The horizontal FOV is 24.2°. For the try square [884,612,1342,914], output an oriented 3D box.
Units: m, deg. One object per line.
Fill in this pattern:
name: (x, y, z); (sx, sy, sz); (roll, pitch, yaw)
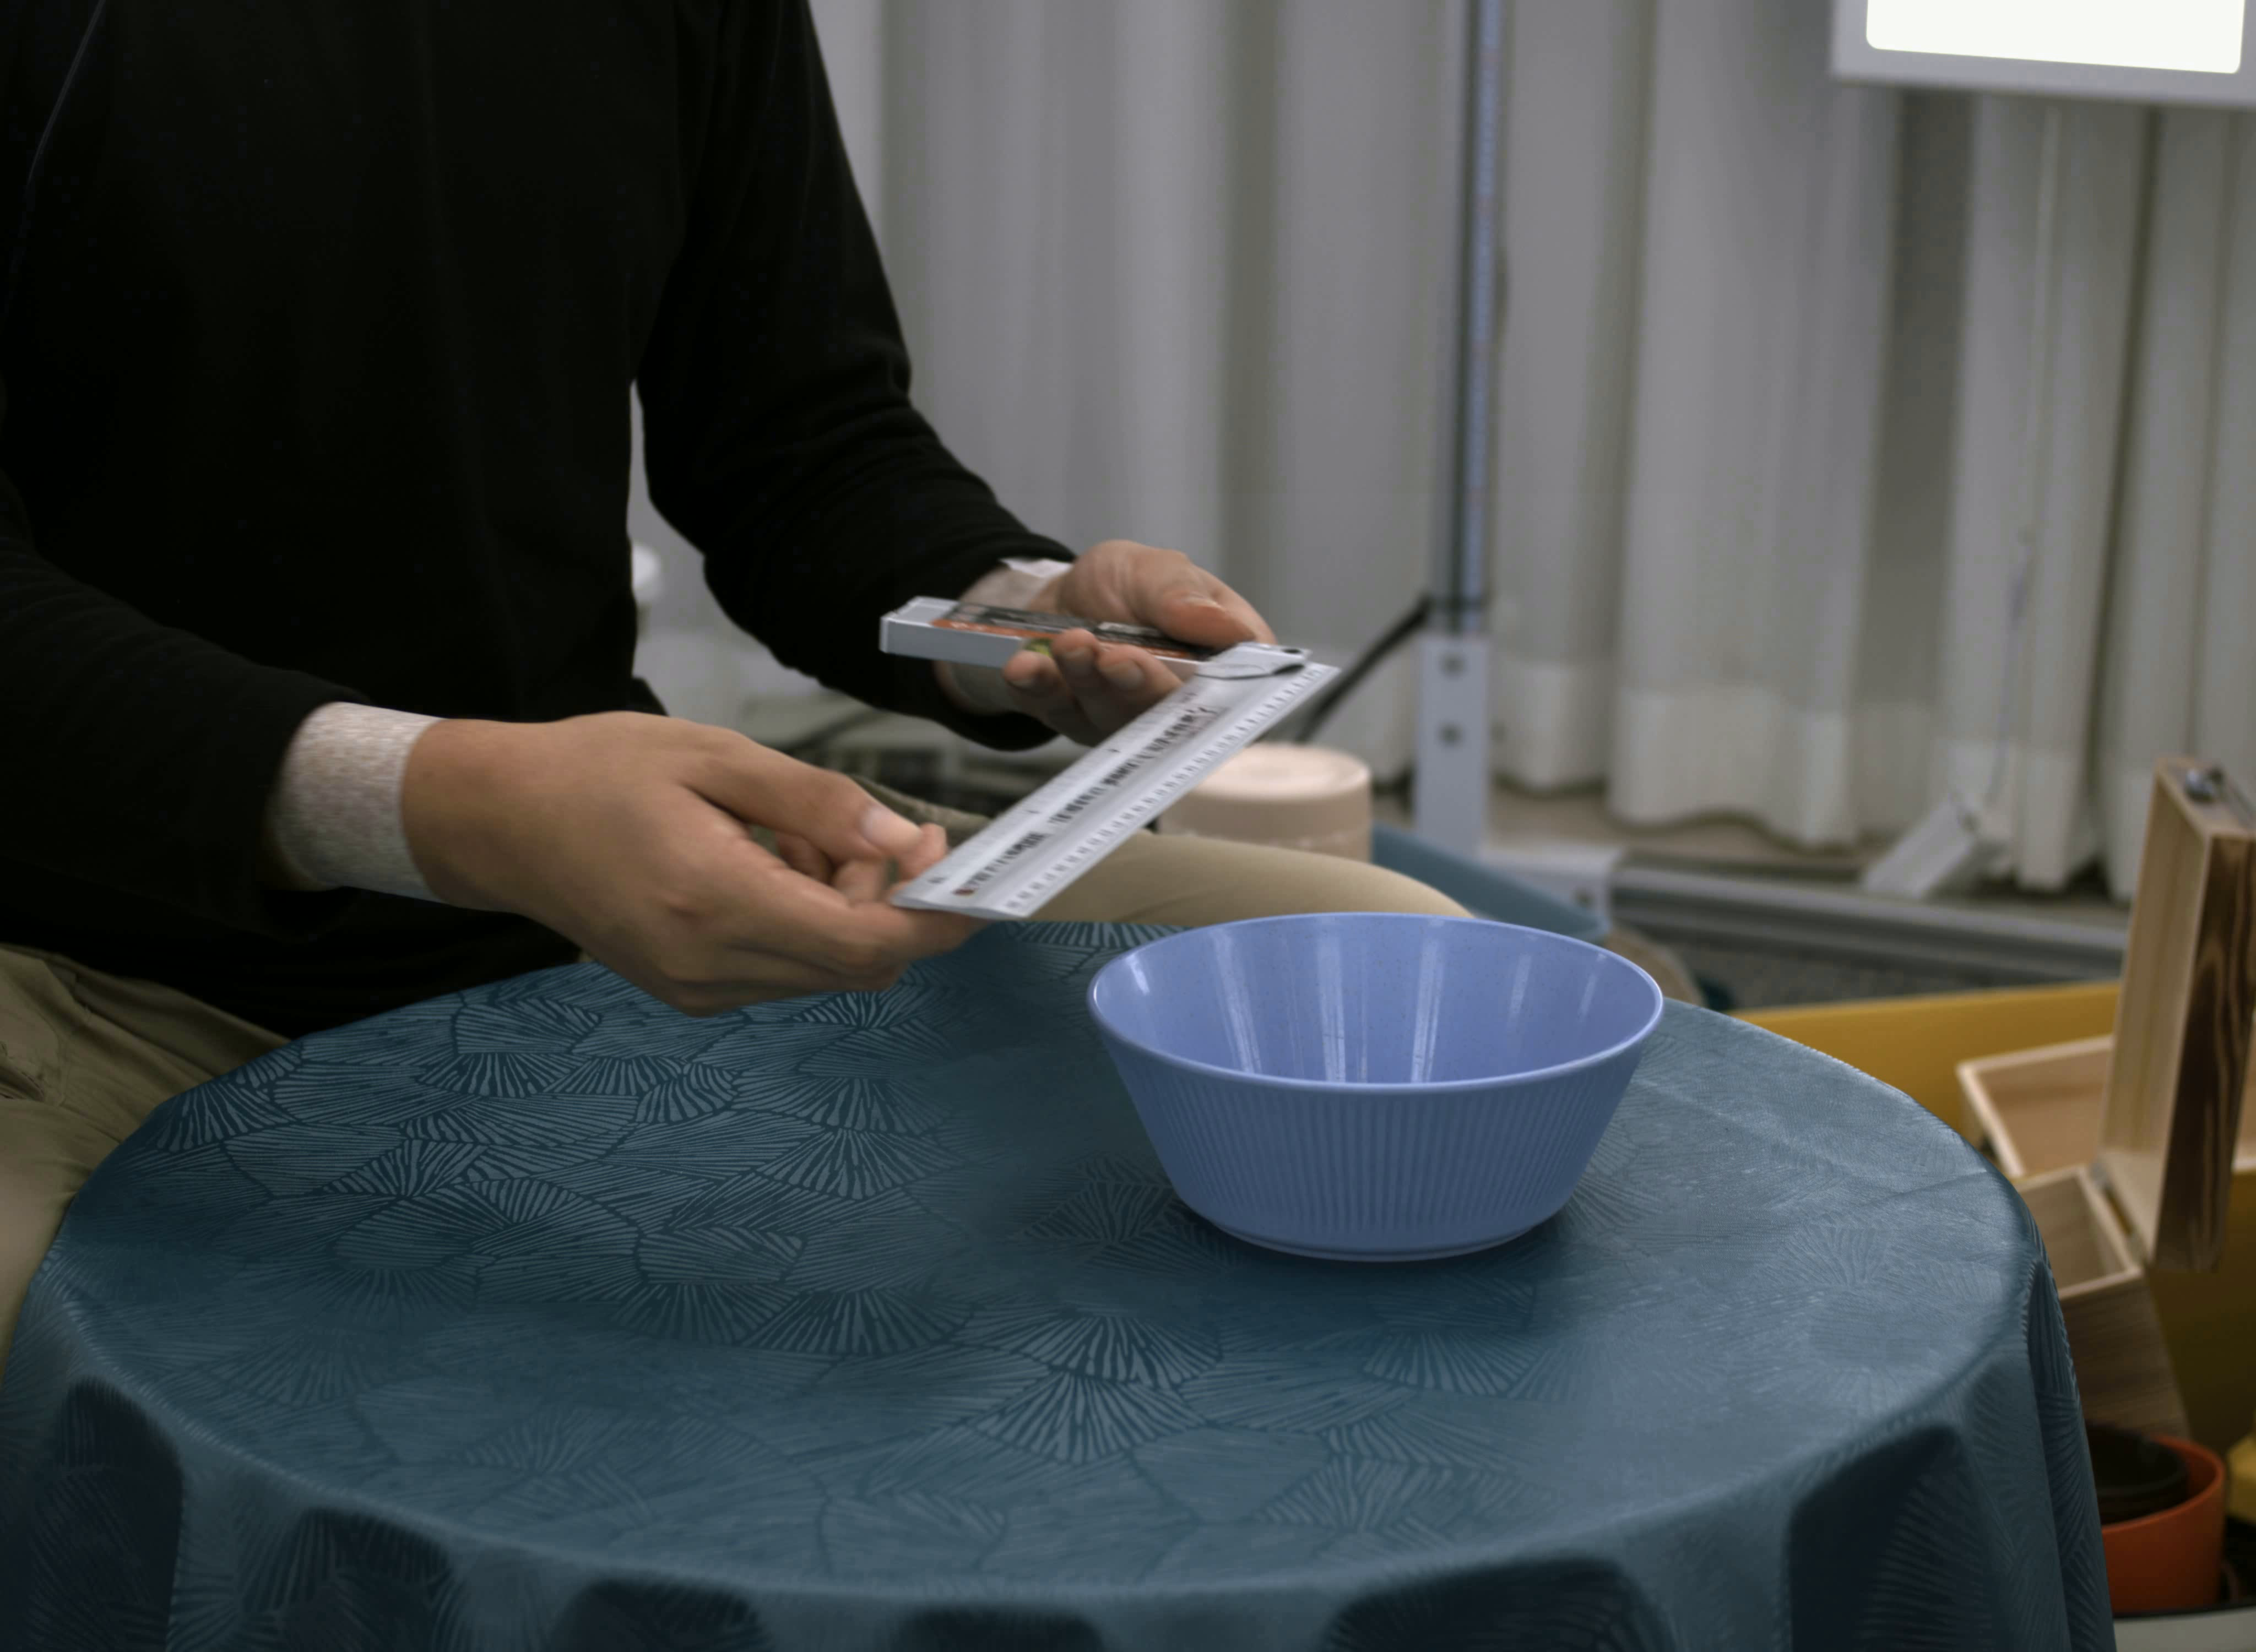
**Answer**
try square: (-0.049, -0.022, 1.628); (0.151, 0.016, 0.313); (6, 16, 18)

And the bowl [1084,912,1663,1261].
bowl: (0.074, 0.082, 1.602); (0.175, 0.071, 0.175); (0, 16, 0)
